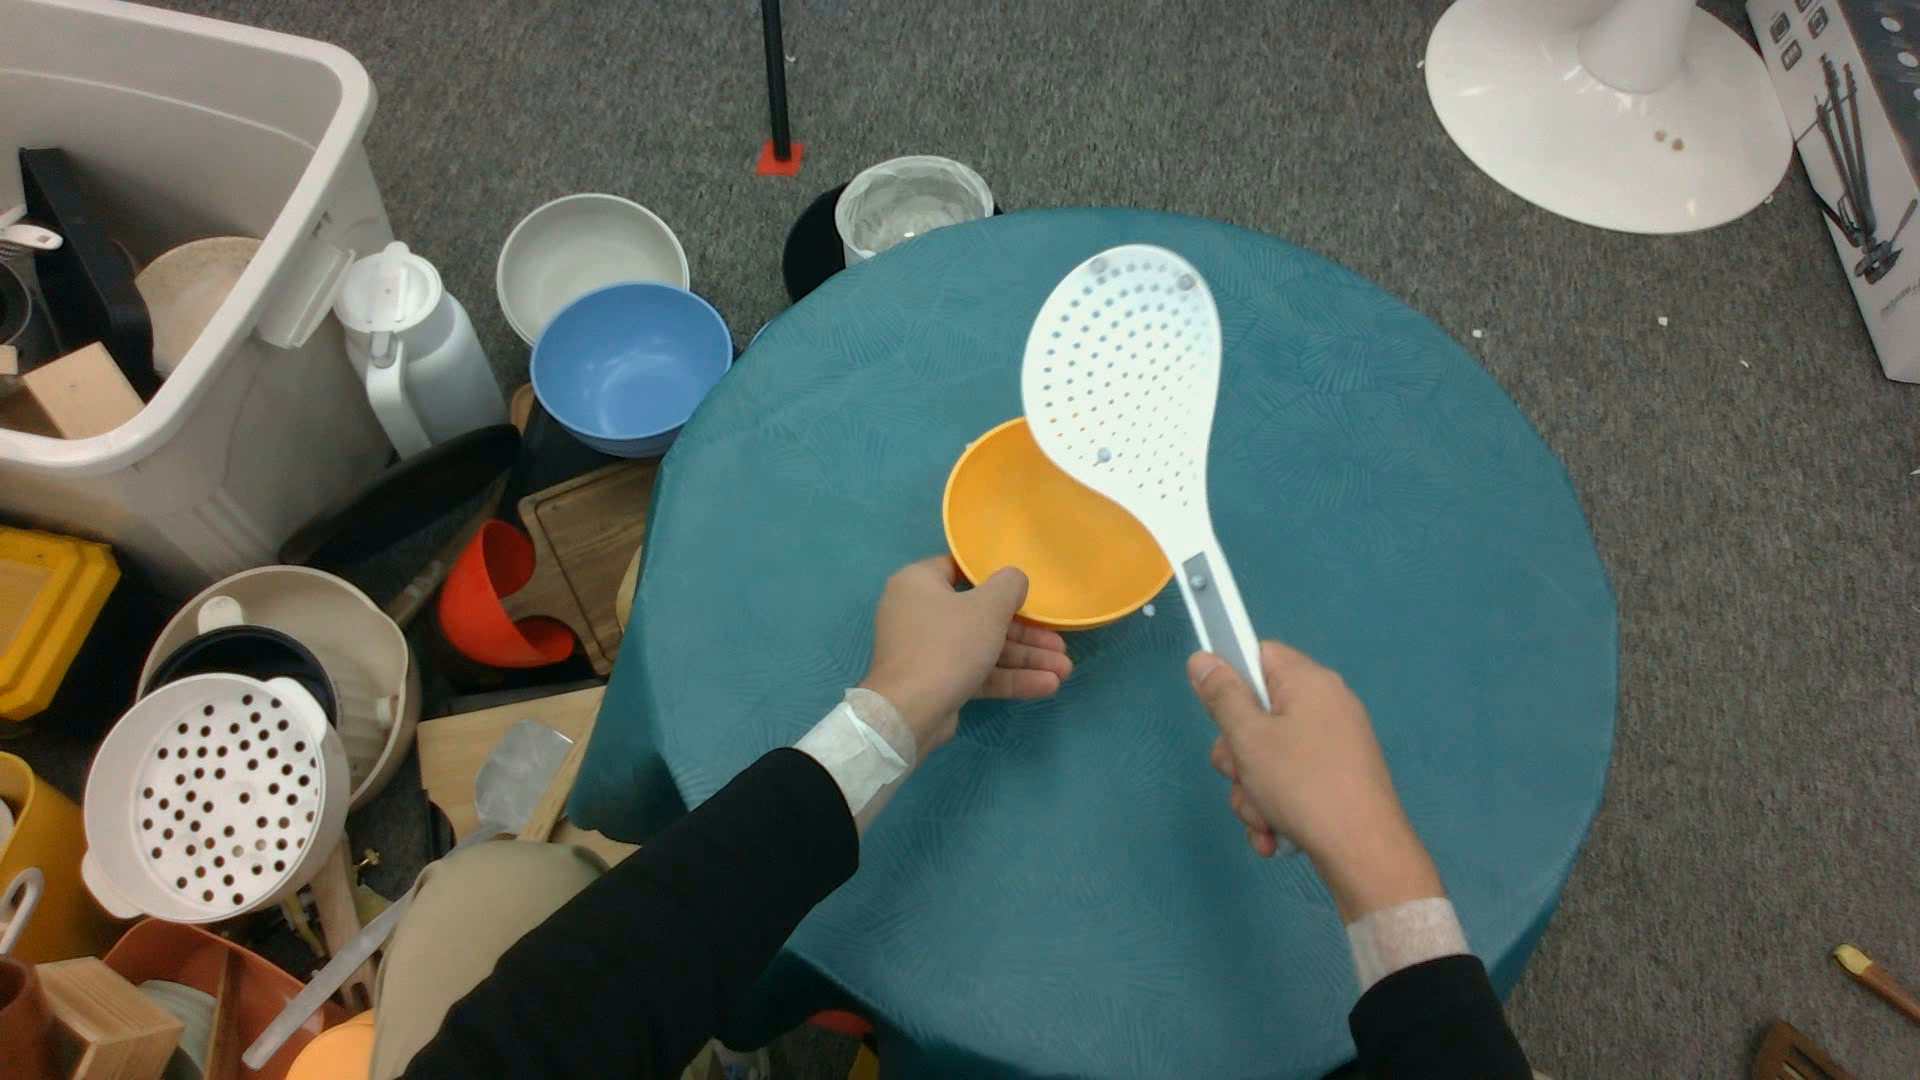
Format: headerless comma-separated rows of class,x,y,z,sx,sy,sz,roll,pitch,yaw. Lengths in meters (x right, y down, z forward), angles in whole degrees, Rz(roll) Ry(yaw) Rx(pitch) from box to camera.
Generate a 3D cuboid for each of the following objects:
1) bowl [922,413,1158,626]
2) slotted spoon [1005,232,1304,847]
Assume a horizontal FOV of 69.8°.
bowl,0.049,-0.003,0.829,0.145,0.060,0.146,1,59,-2
slotted spoon,0.110,-0.009,0.732,0.046,0.135,0.351,16,51,-44
